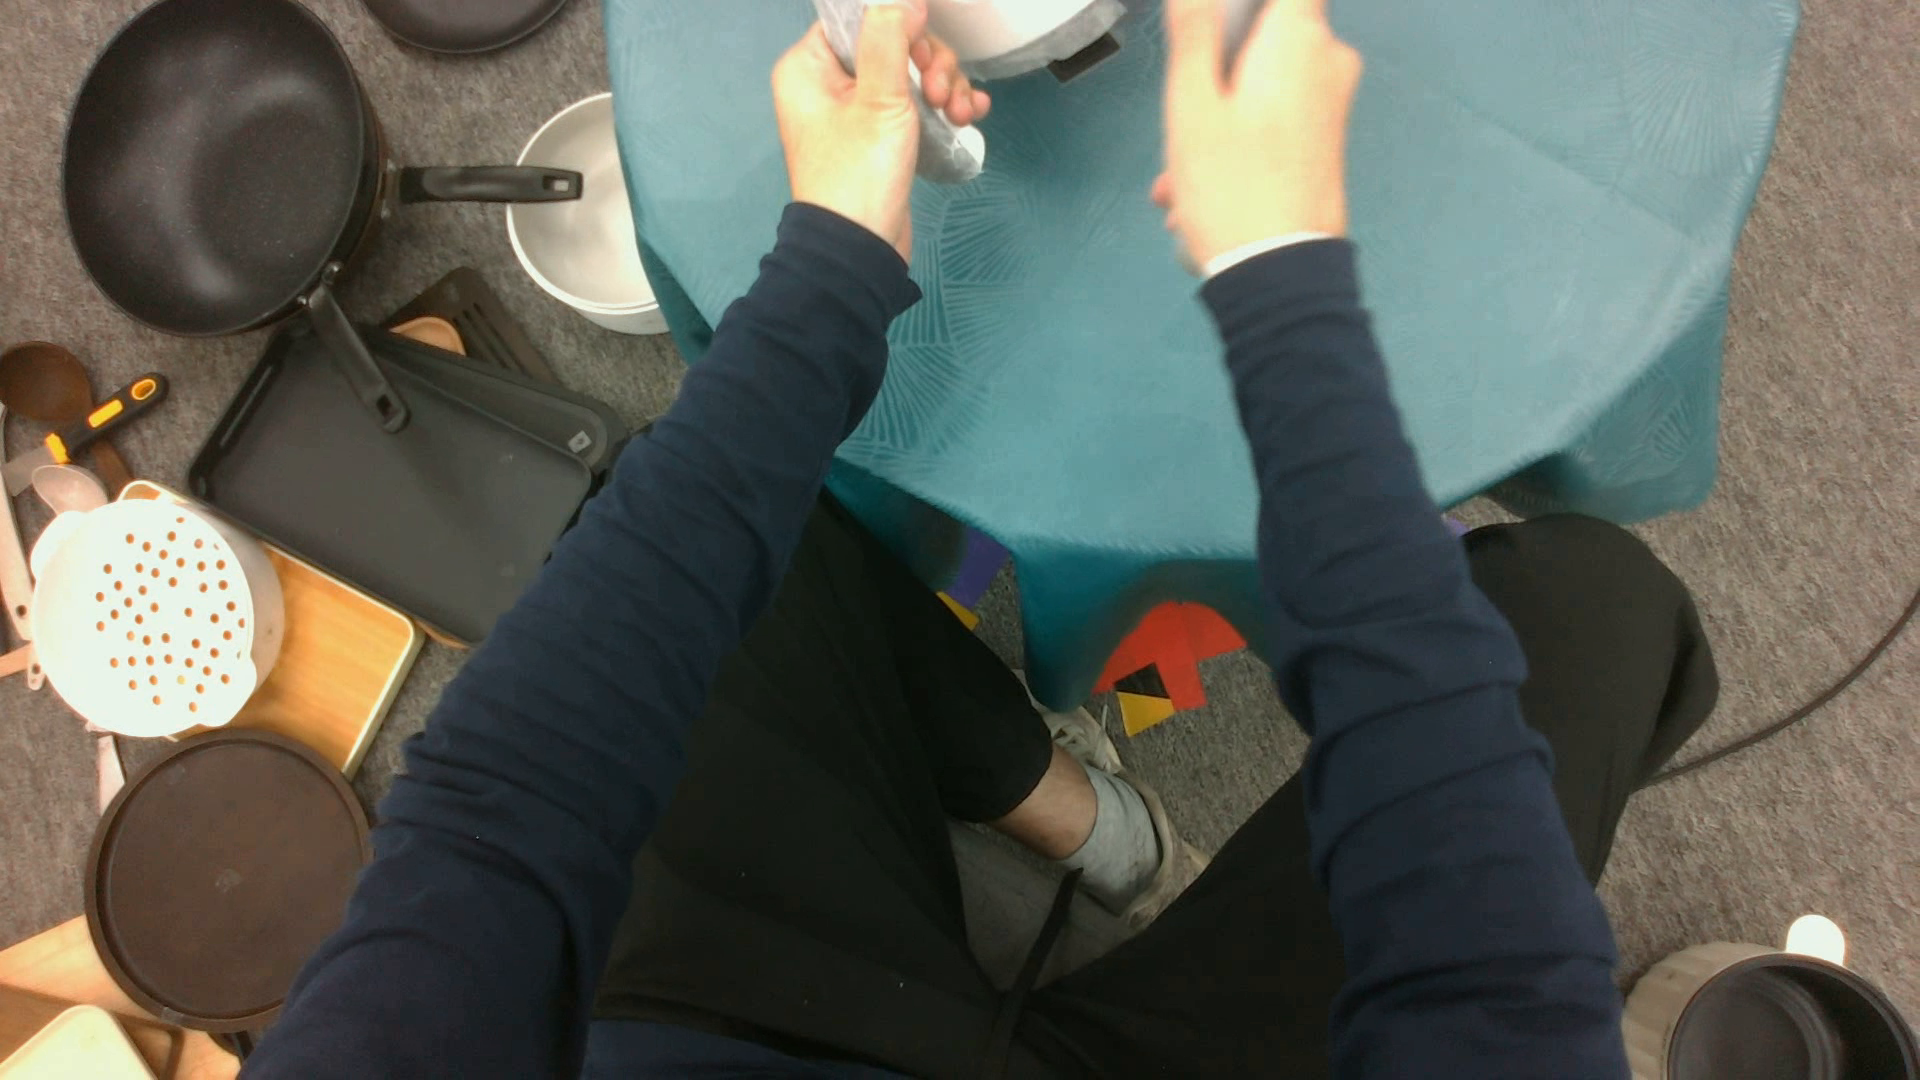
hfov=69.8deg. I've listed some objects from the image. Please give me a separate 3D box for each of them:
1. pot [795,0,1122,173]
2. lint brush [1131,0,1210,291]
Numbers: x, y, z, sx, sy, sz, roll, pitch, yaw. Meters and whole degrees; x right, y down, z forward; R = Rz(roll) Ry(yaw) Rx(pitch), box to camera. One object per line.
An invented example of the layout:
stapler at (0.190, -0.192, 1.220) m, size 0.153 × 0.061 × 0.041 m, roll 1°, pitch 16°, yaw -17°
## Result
pot at (0.000, -0.287, 0.605) m, size 0.178 × 0.136 × 0.234 m, roll 10°, pitch 74°, yaw 44°
lint brush at (0.087, -0.250, 0.543) m, size 0.060 × 0.021 × 0.309 m, roll 7°, pitch 84°, yaw -42°
